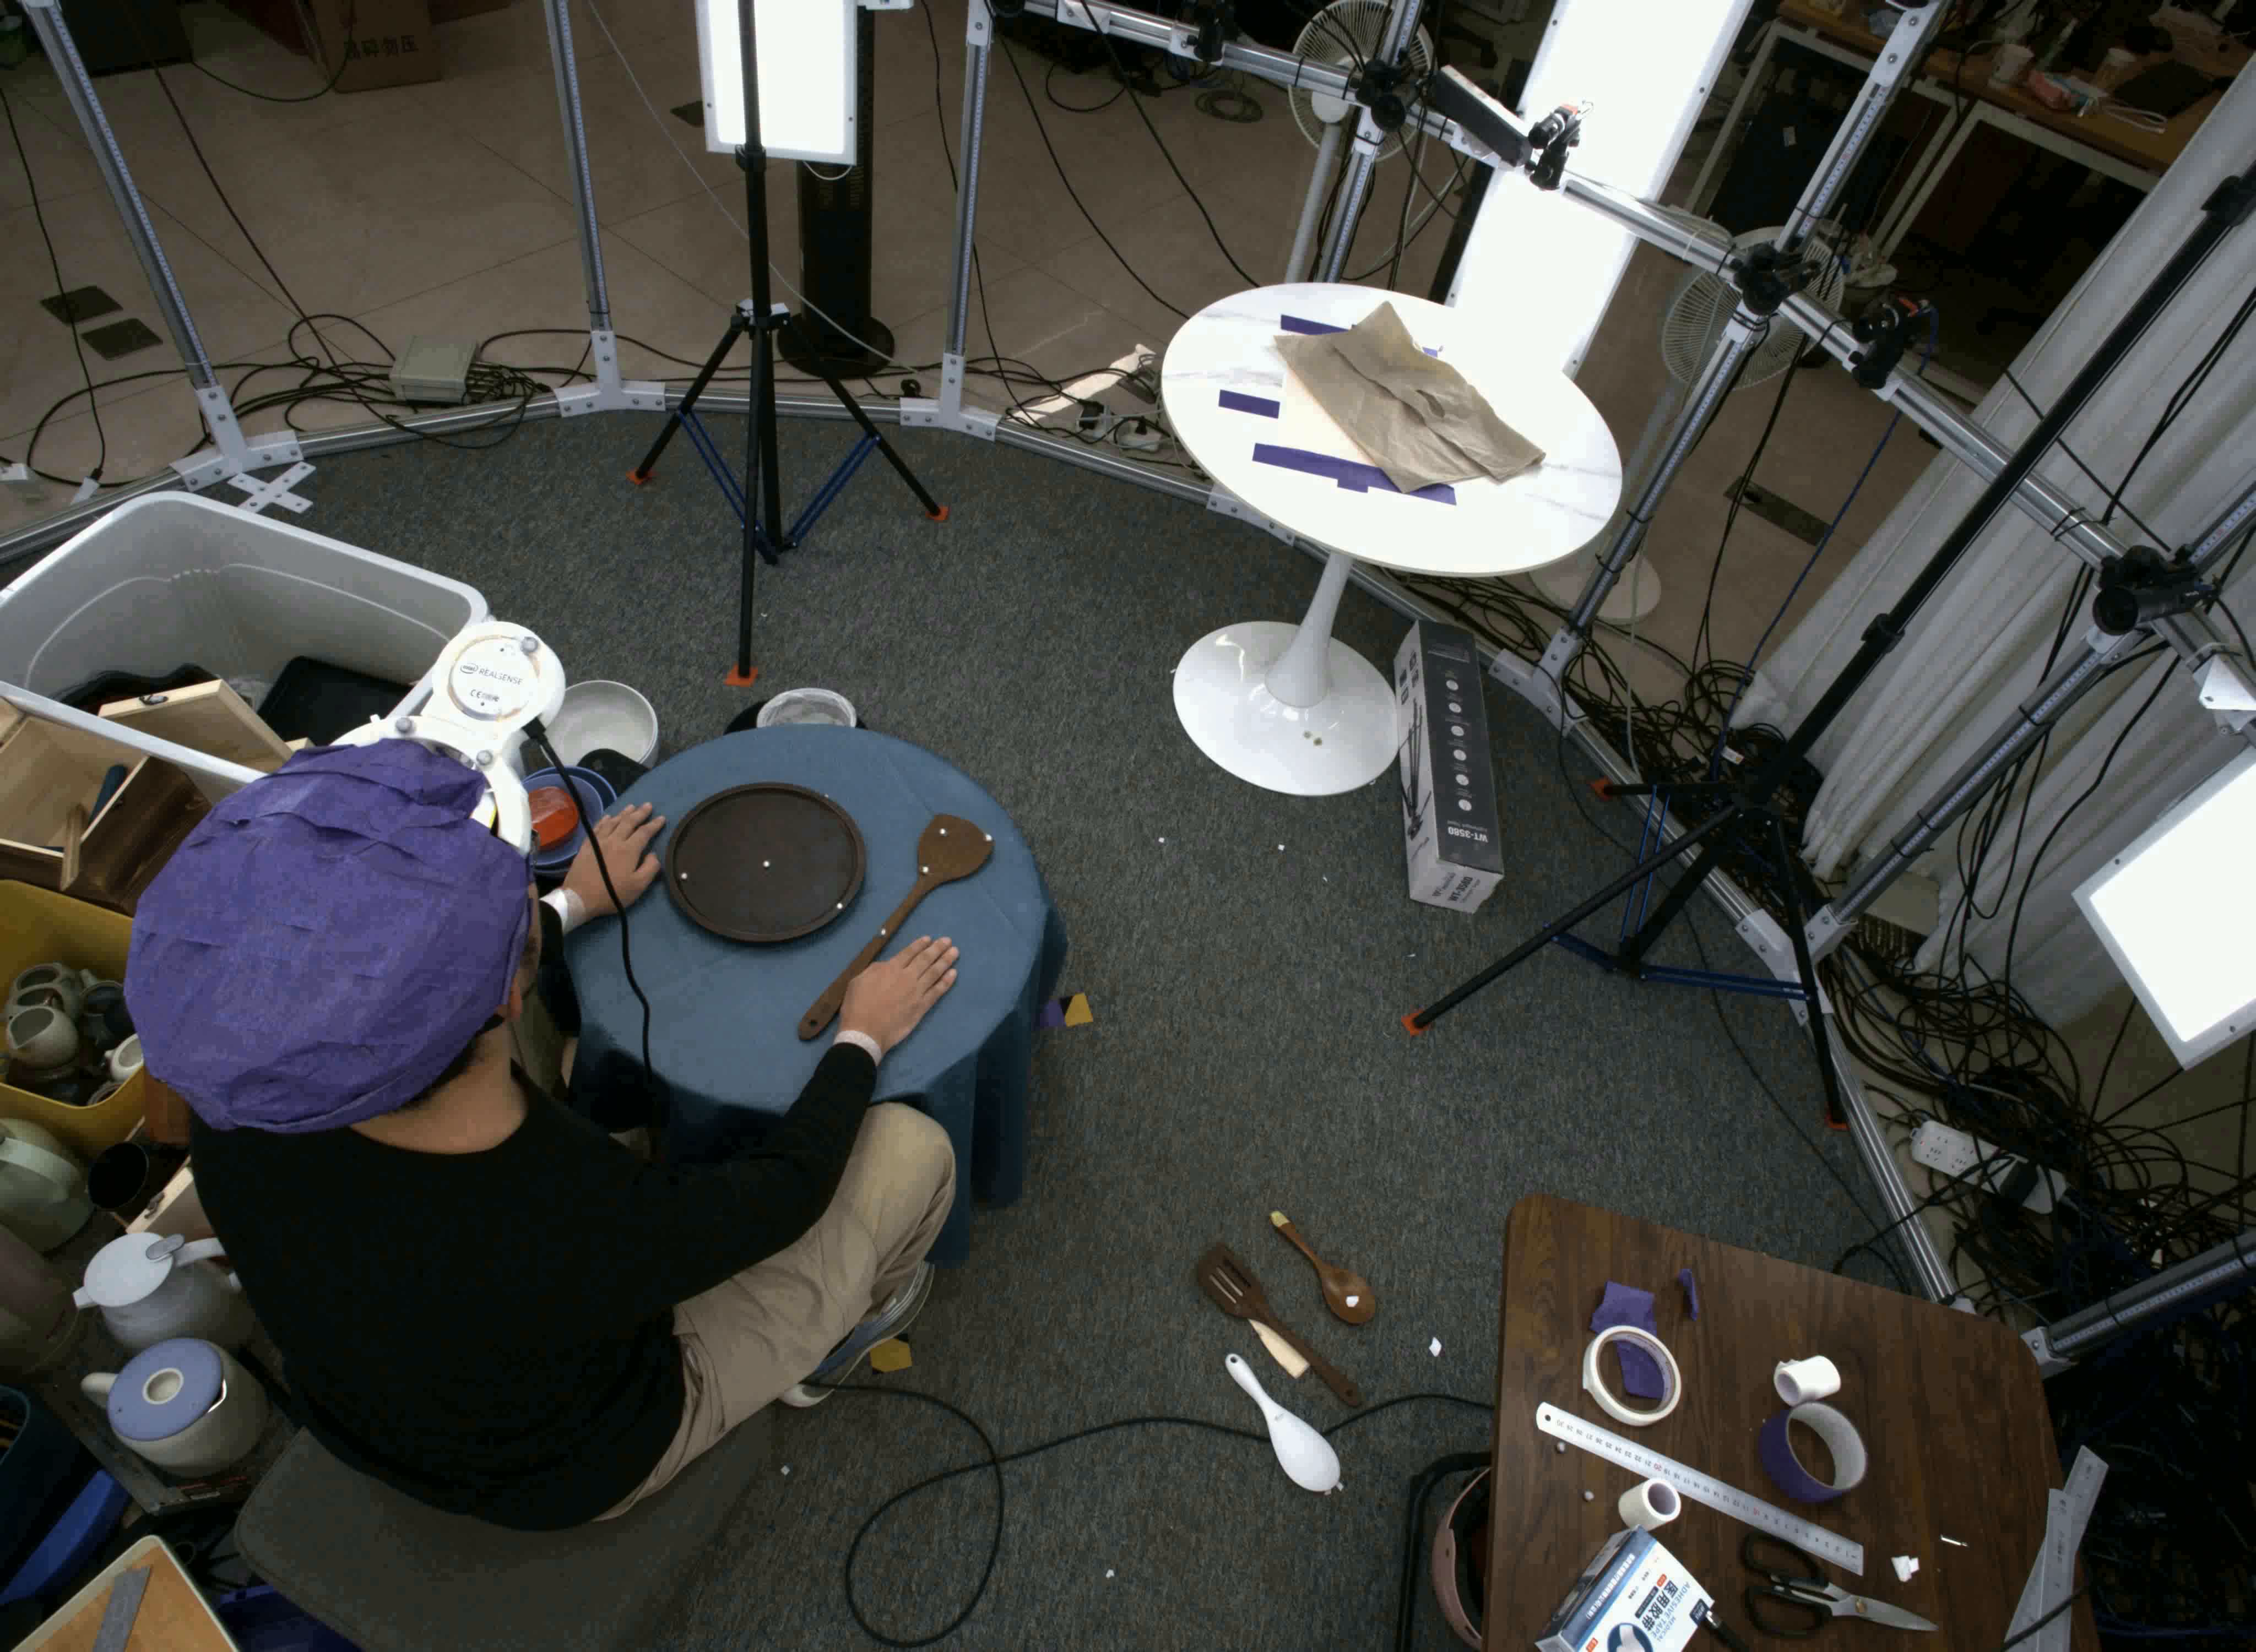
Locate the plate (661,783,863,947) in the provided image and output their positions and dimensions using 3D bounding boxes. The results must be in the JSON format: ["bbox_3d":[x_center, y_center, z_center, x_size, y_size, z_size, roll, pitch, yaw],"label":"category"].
[{"bbox_3d":[-0.468,0.046,1.657,0.254,0.029,0.250,9,53,-10],"label":"plate"}]

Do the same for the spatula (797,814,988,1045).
[{"bbox_3d":[-0.304,0.124,1.648,0.094,0.016,0.384,27,52,7],"label":"spatula"}]
